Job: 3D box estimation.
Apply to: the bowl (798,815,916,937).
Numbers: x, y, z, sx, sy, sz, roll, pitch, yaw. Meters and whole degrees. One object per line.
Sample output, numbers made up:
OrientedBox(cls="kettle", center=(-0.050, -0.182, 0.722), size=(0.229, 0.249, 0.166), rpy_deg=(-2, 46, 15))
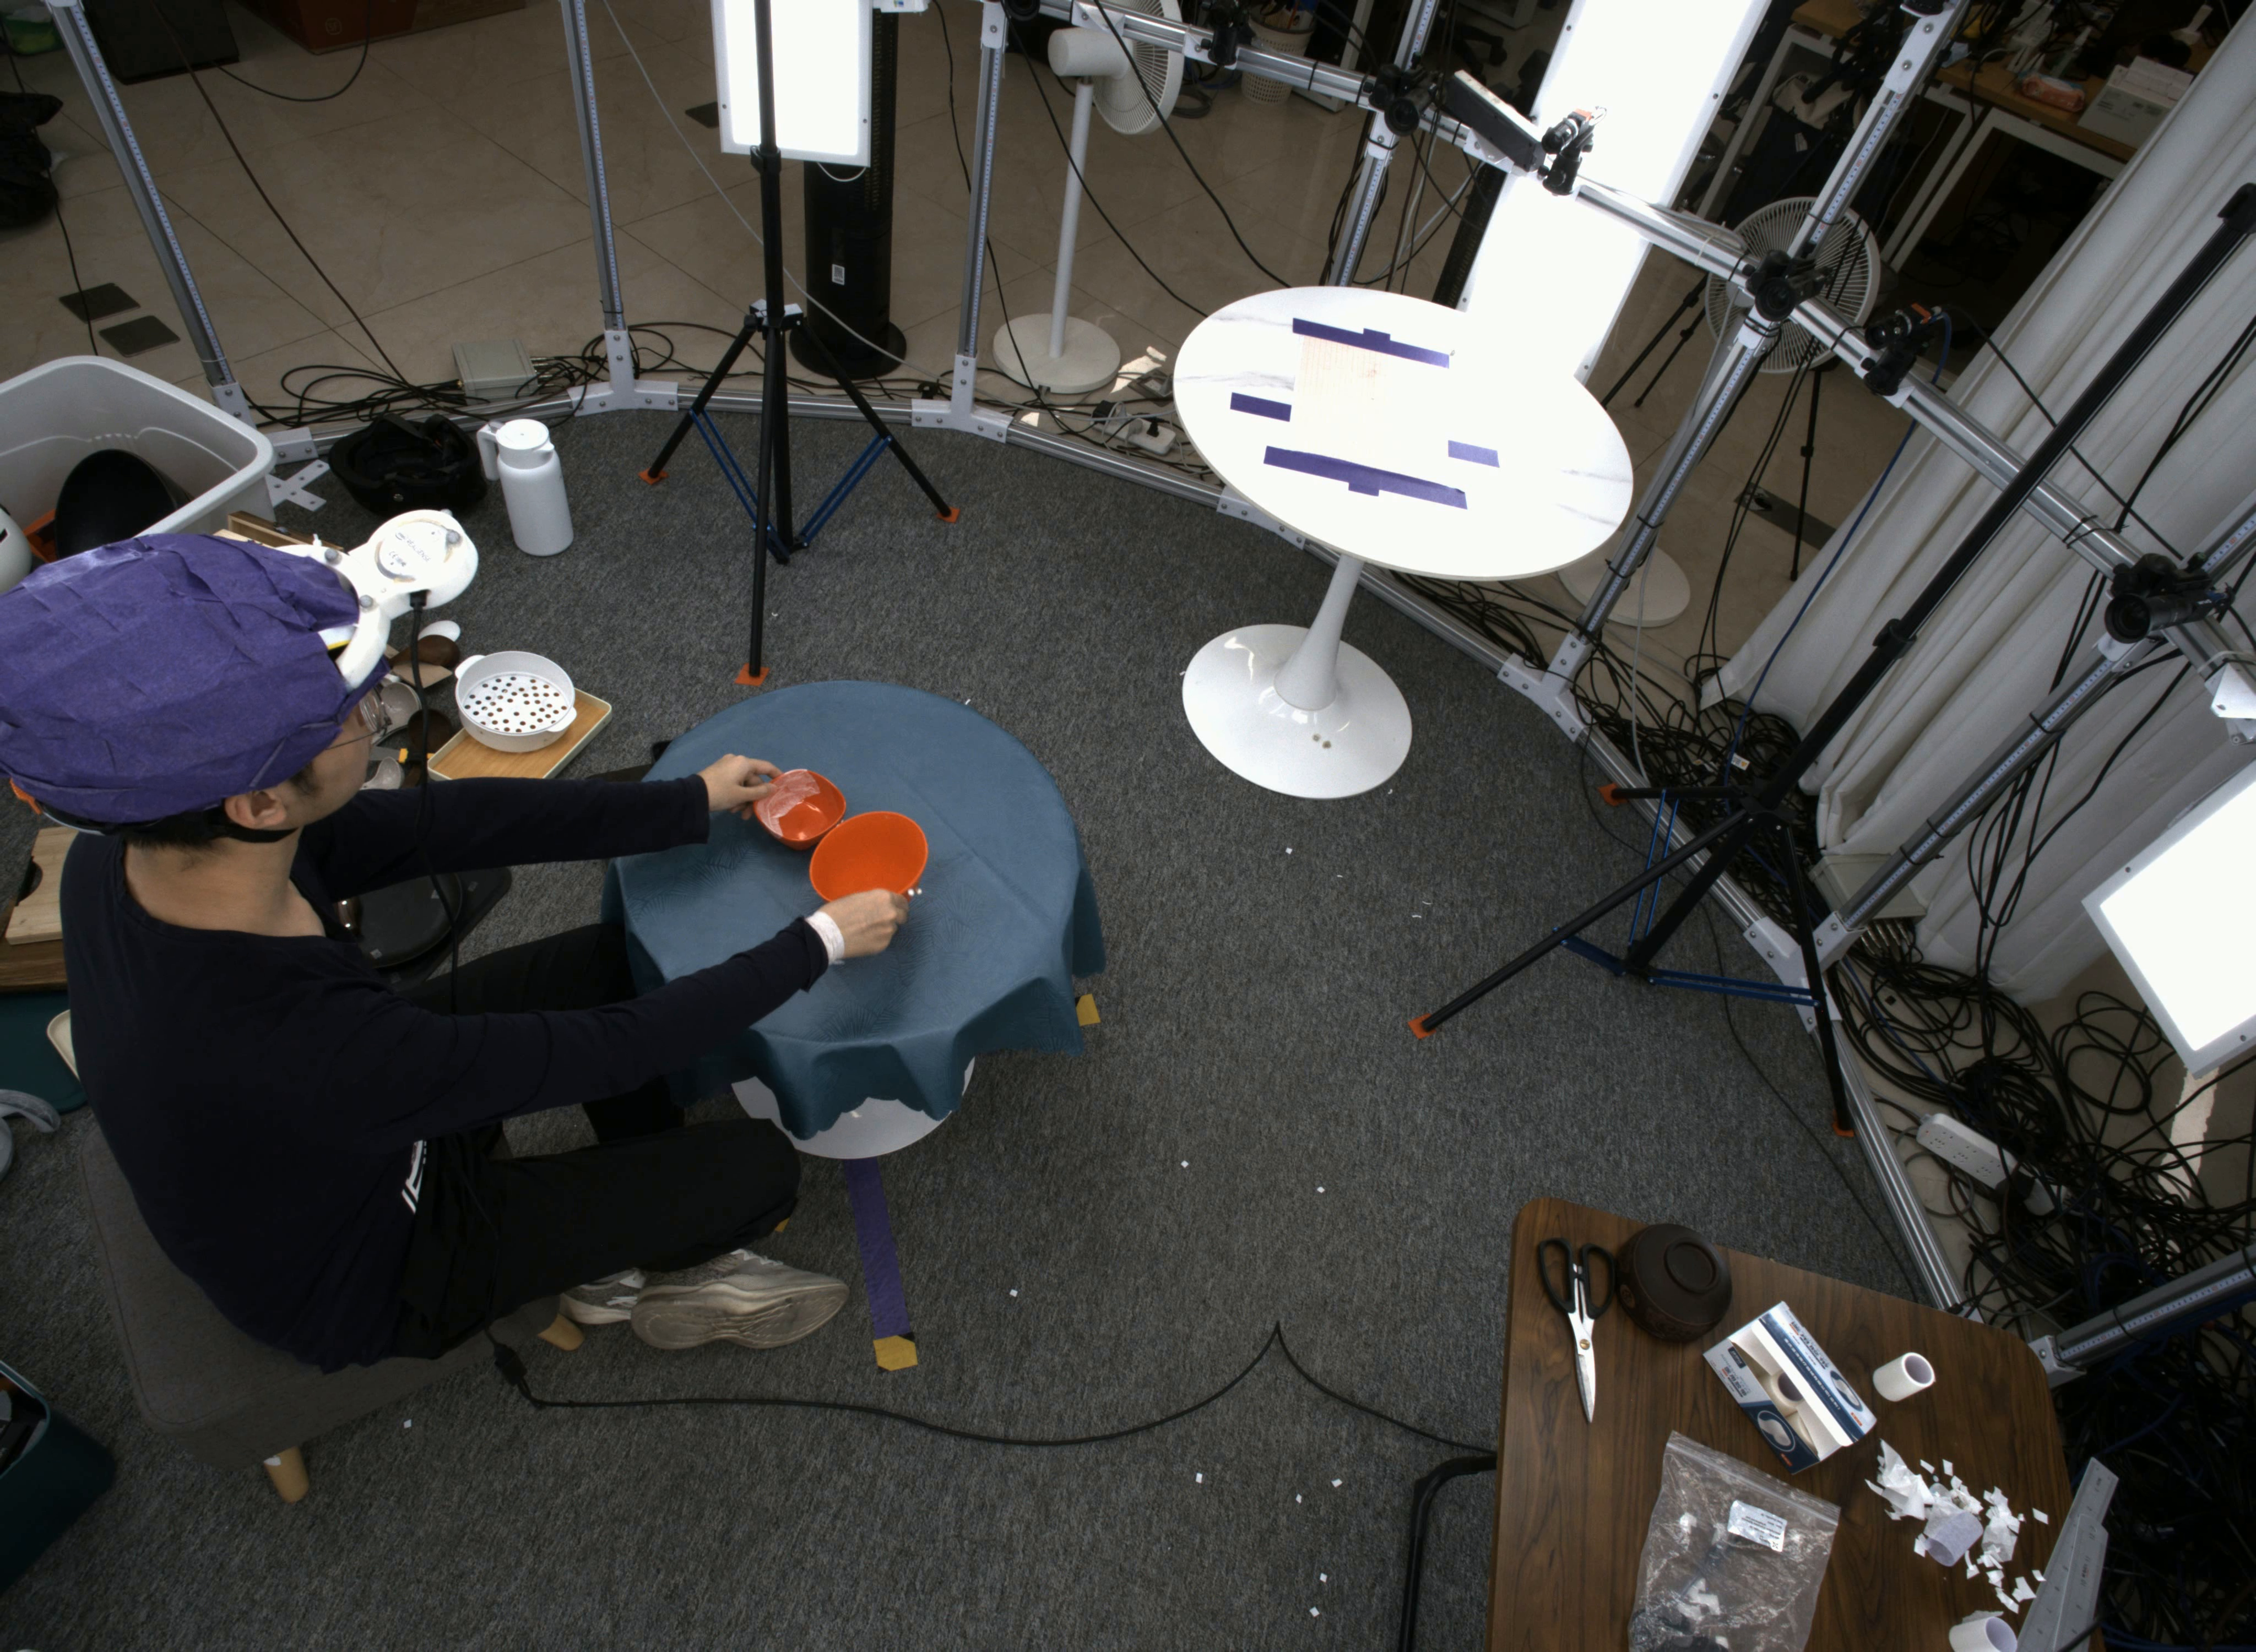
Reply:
OrientedBox(cls="bowl", center=(-0.334, 0.073, 1.633), size=(0.146, 0.108, 0.145), rpy_deg=(2, 47, 0))

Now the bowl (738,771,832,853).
OrientedBox(cls="bowl", center=(-0.450, -0.011, 1.704), size=(0.119, 0.052, 0.117), rpy_deg=(8, 54, -9))
